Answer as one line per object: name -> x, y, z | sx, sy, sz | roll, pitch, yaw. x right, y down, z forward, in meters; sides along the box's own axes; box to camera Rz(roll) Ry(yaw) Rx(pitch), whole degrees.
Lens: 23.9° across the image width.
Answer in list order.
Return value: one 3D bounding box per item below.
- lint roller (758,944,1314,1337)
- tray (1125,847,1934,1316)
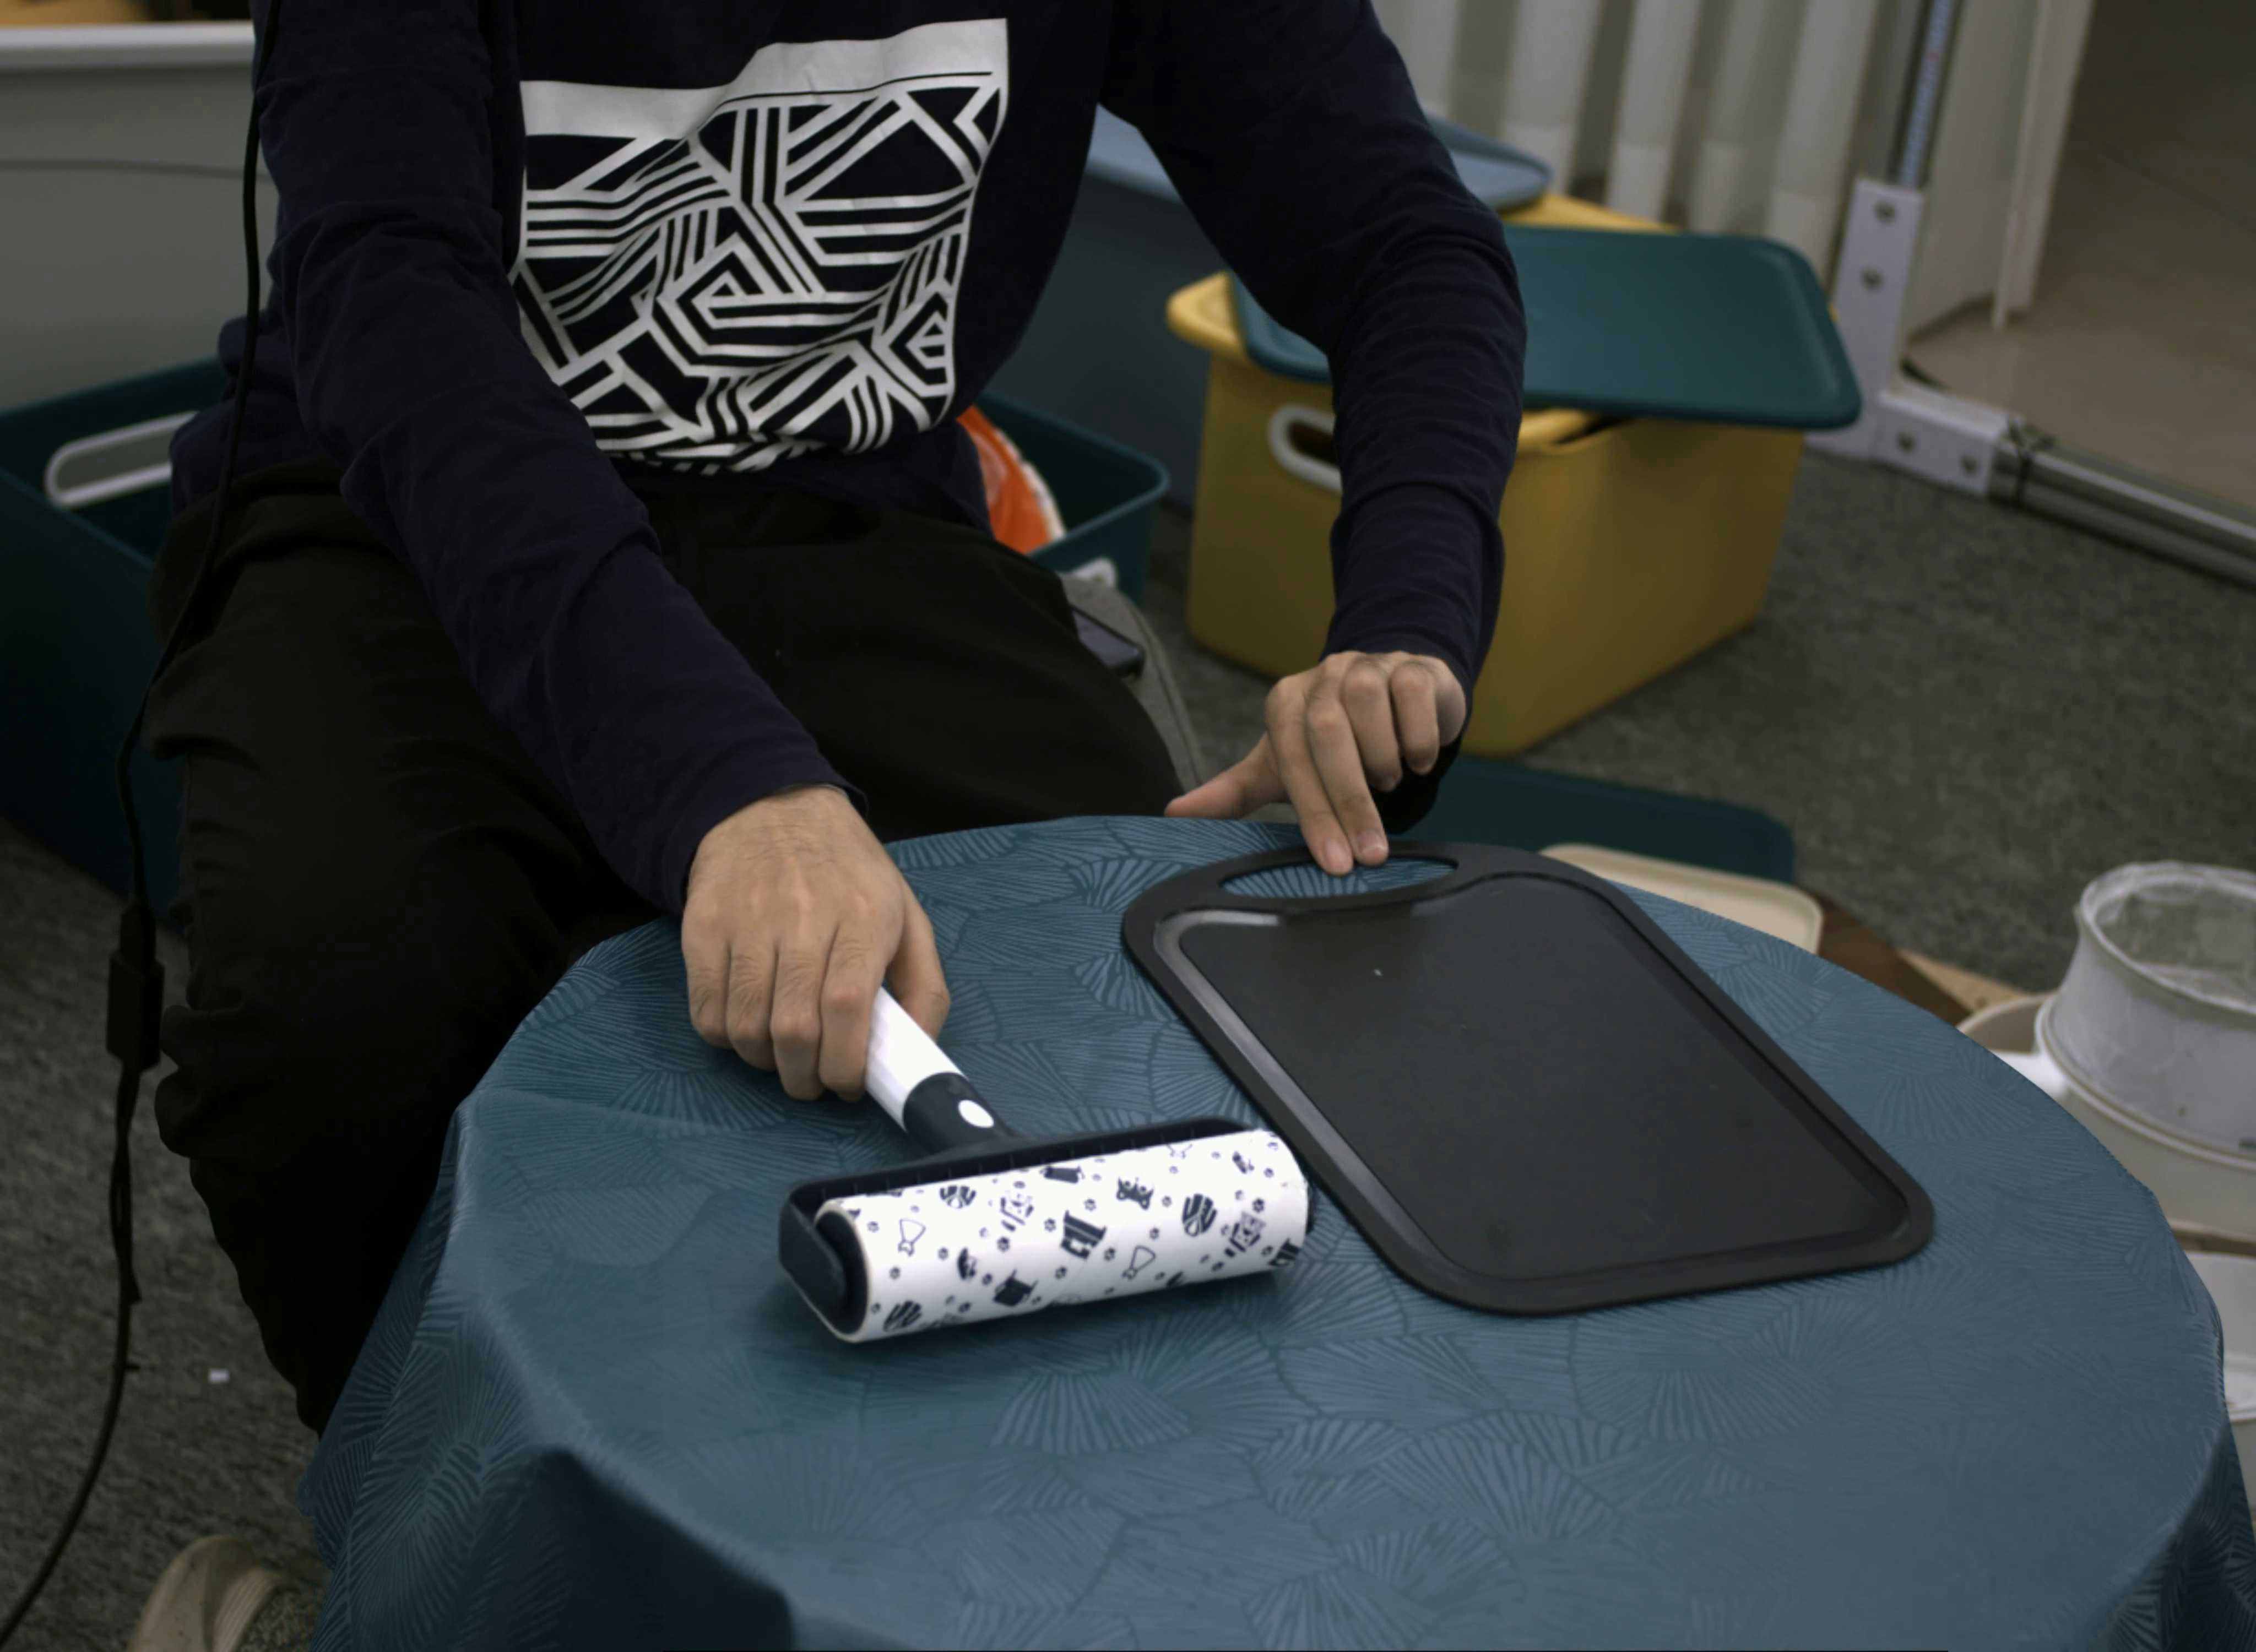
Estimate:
lint roller -> -0.070, 0.091, 1.810 | 0.175, 0.050, 0.249 | -9, 27, -26
tray -> 0.135, 0.083, 1.911 | 0.210, 0.010, 0.328 | -5, 29, -23
